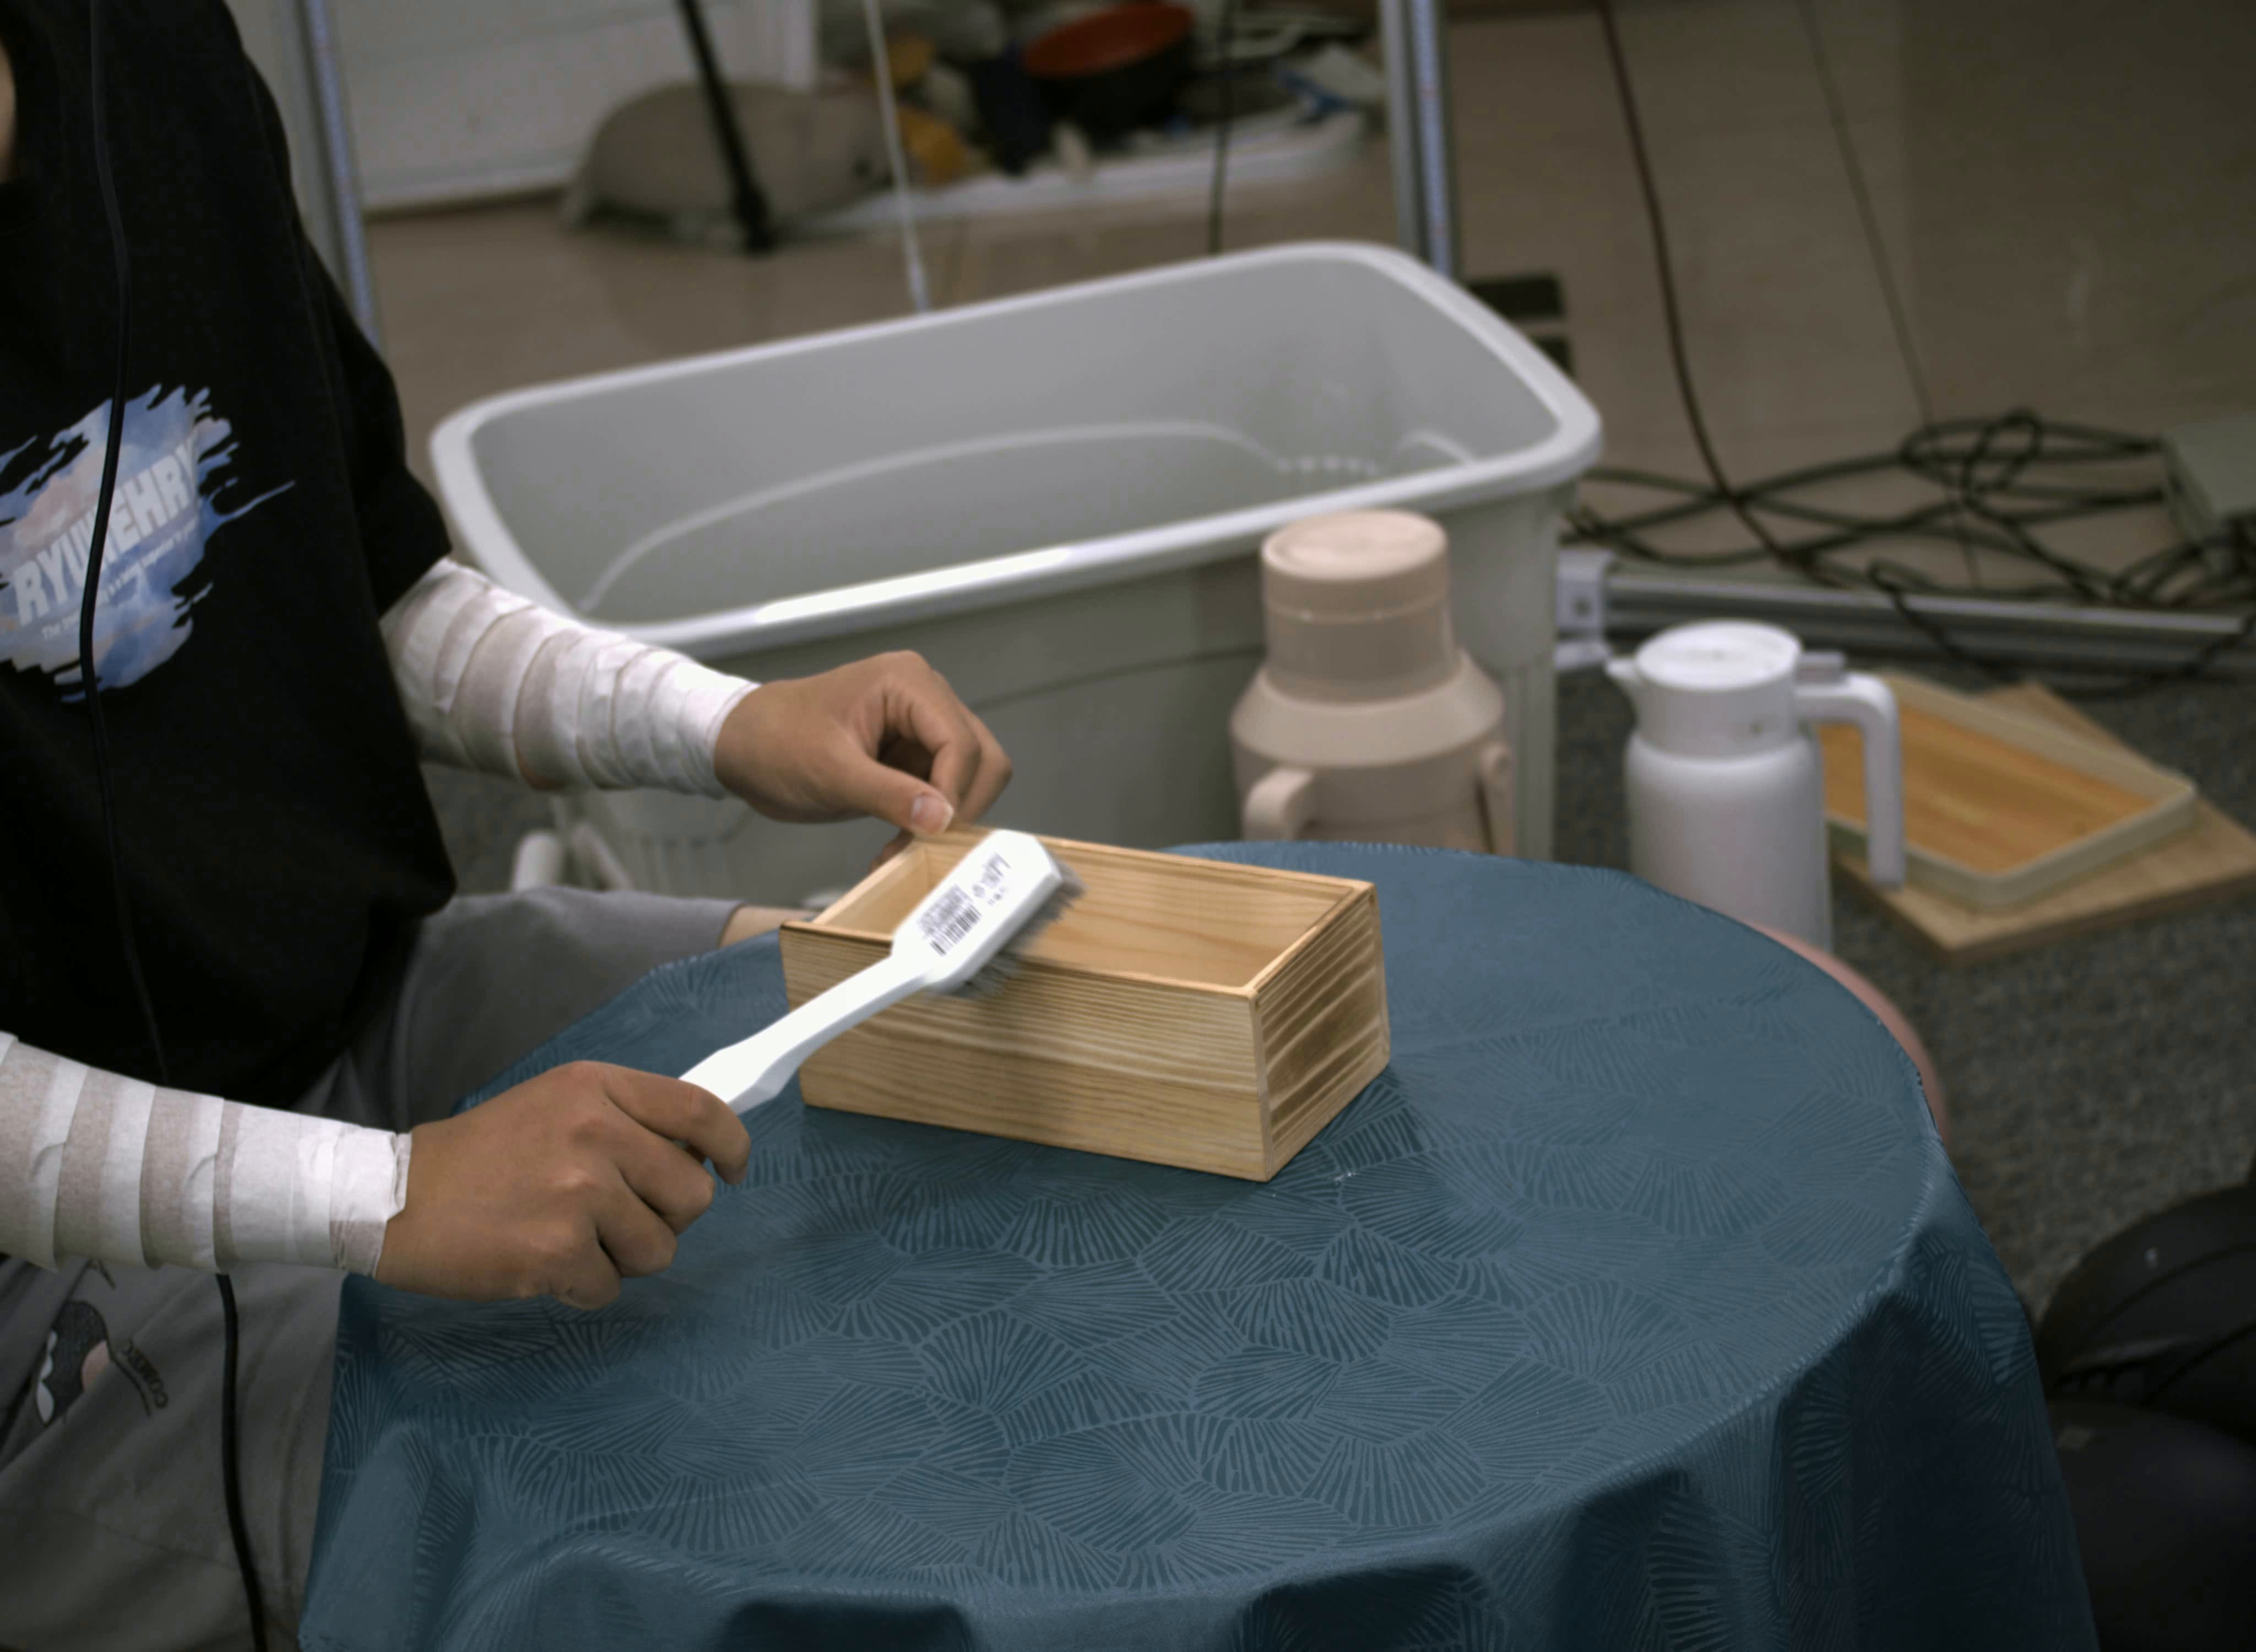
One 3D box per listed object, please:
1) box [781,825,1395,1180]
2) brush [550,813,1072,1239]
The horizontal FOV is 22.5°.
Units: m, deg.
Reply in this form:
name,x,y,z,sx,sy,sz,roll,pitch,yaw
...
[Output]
name,x,y,z,sx,sy,sz,roll,pitch,yaw
box,-0.015,0.067,2.213,0.210,0.081,0.106,7,28,29
brush,-0.118,0.082,2.120,0.242,0.051,0.034,-41,59,-17
